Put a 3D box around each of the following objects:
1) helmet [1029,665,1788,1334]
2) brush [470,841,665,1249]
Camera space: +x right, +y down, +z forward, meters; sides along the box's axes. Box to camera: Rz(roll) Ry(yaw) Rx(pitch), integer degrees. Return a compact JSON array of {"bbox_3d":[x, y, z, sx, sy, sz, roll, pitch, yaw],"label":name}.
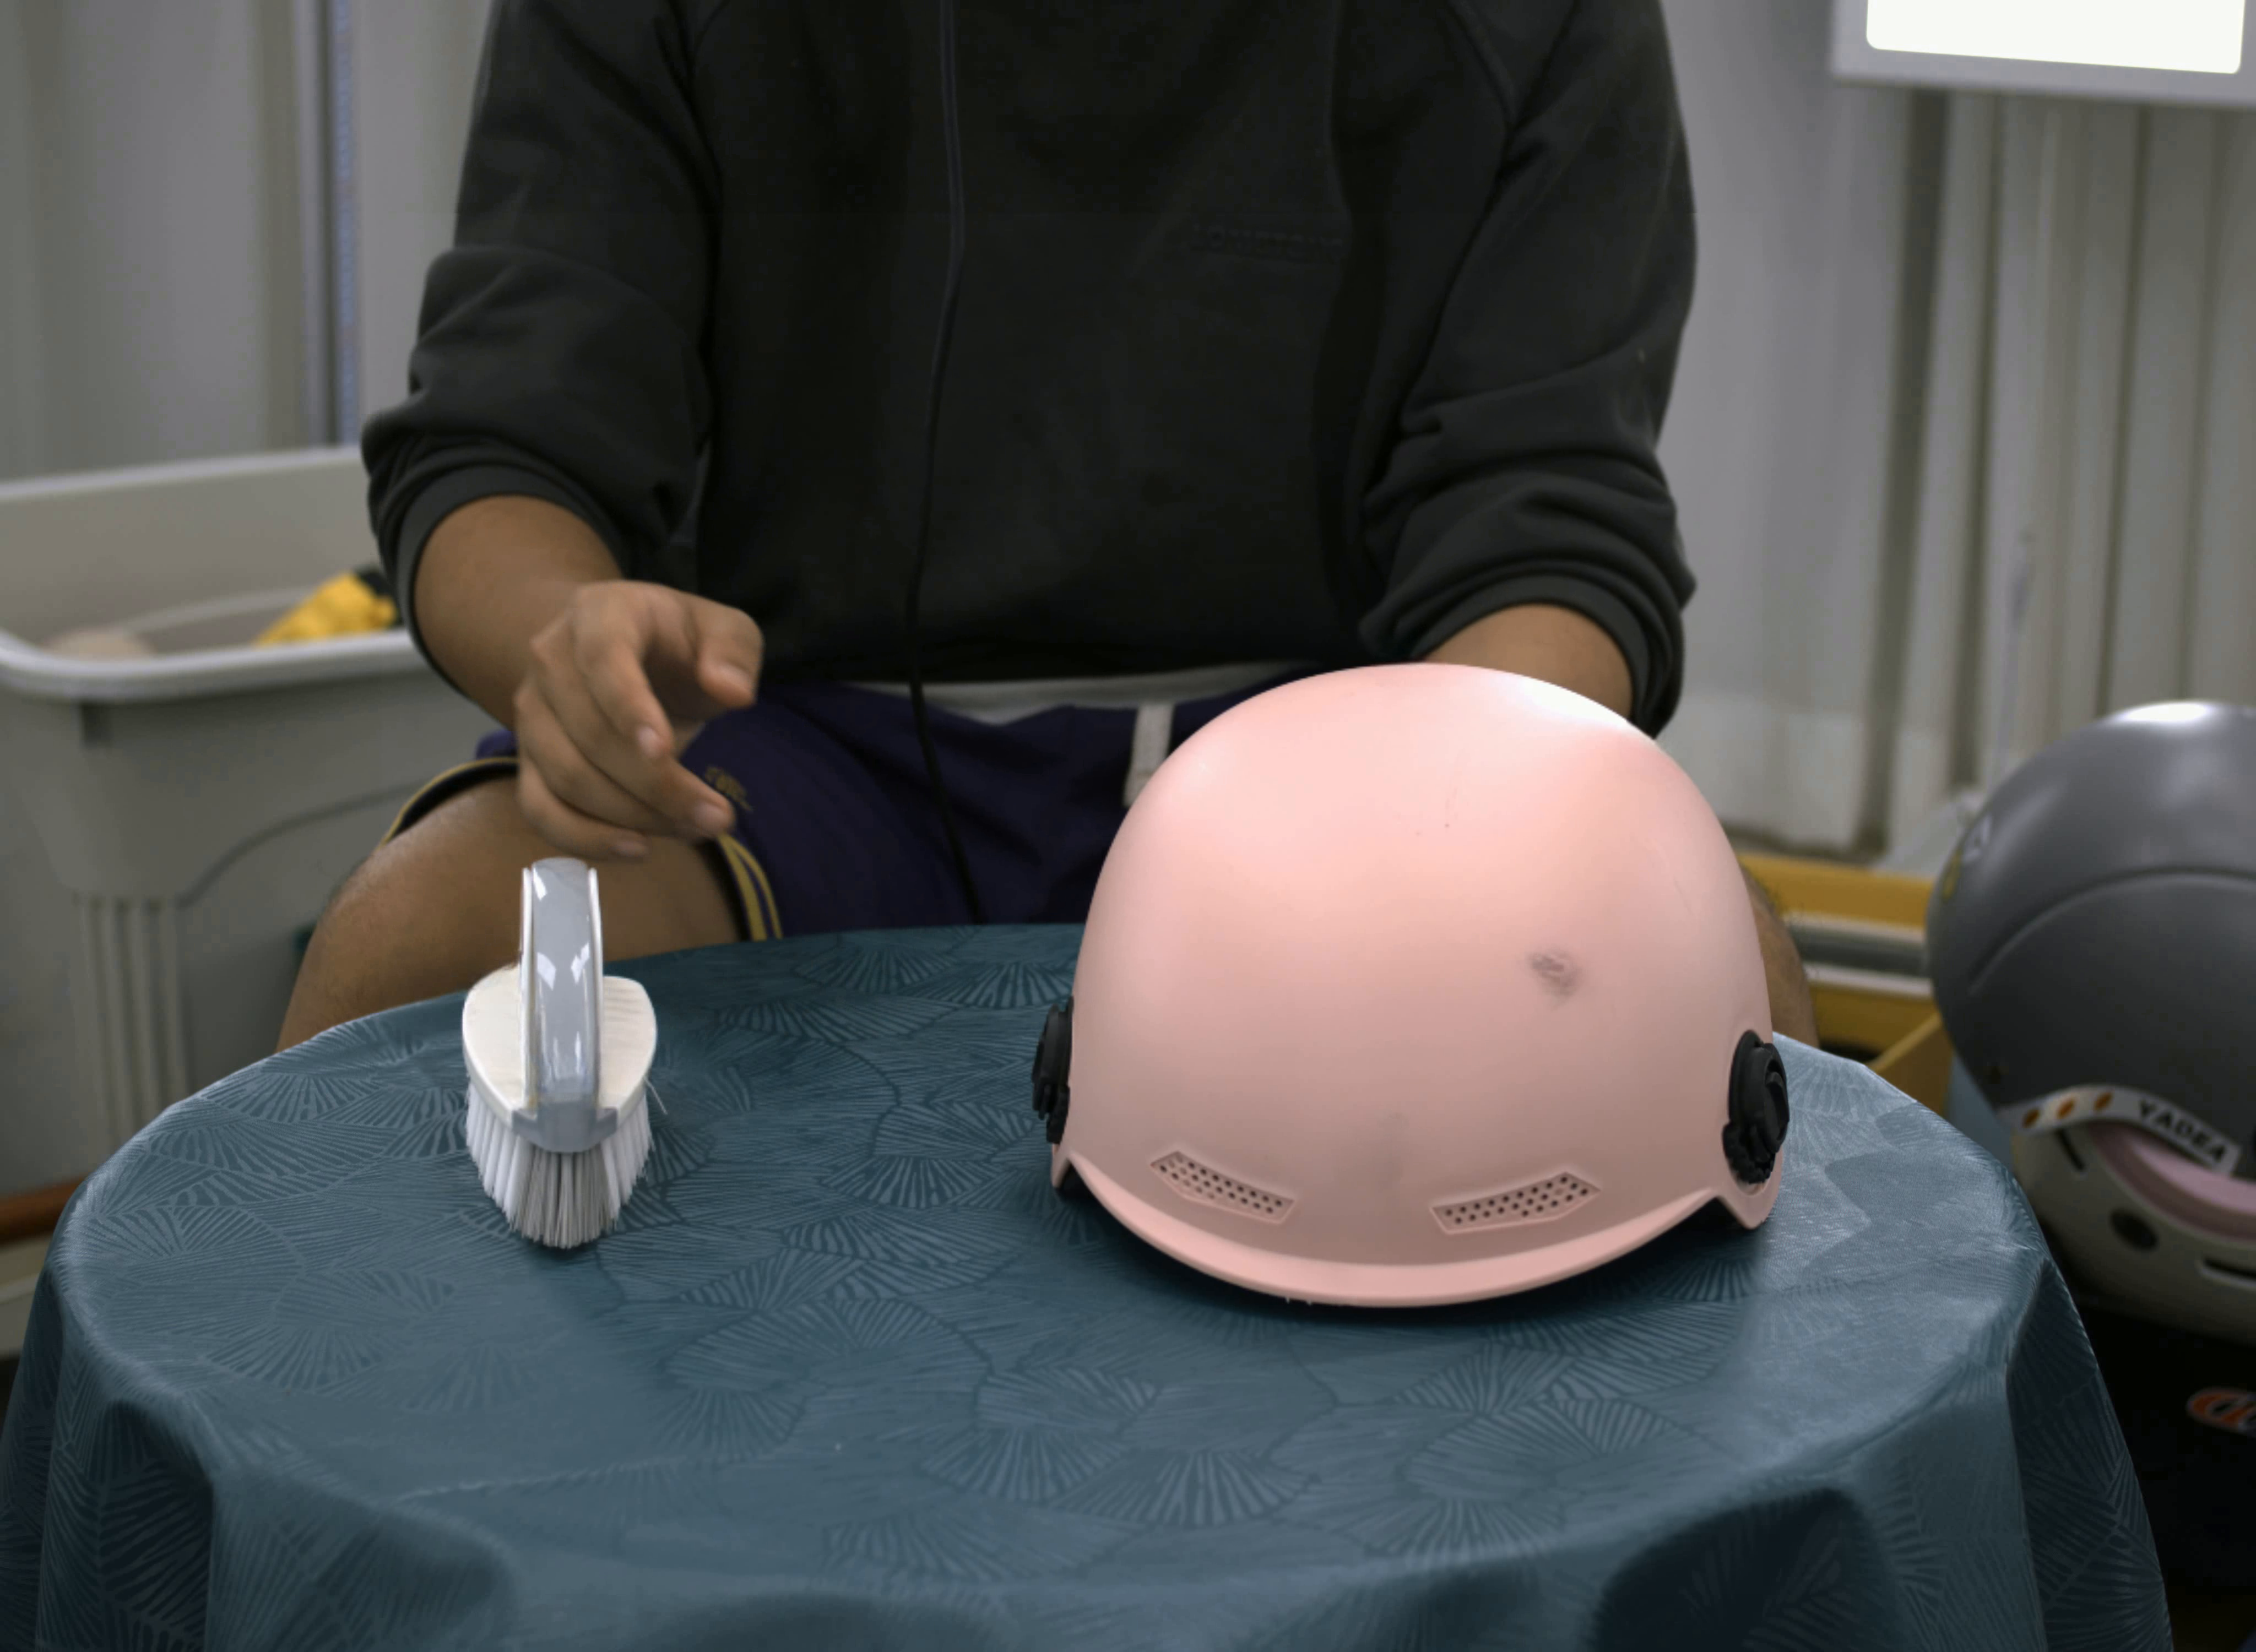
[{"bbox_3d":[0.088,0.038,1.611,0.232,0.160,0.265,3,20,8],"label":"helmet"},{"bbox_3d":[-0.173,0.061,1.628,0.061,0.095,0.174,-2,18,-6],"label":"brush"}]
